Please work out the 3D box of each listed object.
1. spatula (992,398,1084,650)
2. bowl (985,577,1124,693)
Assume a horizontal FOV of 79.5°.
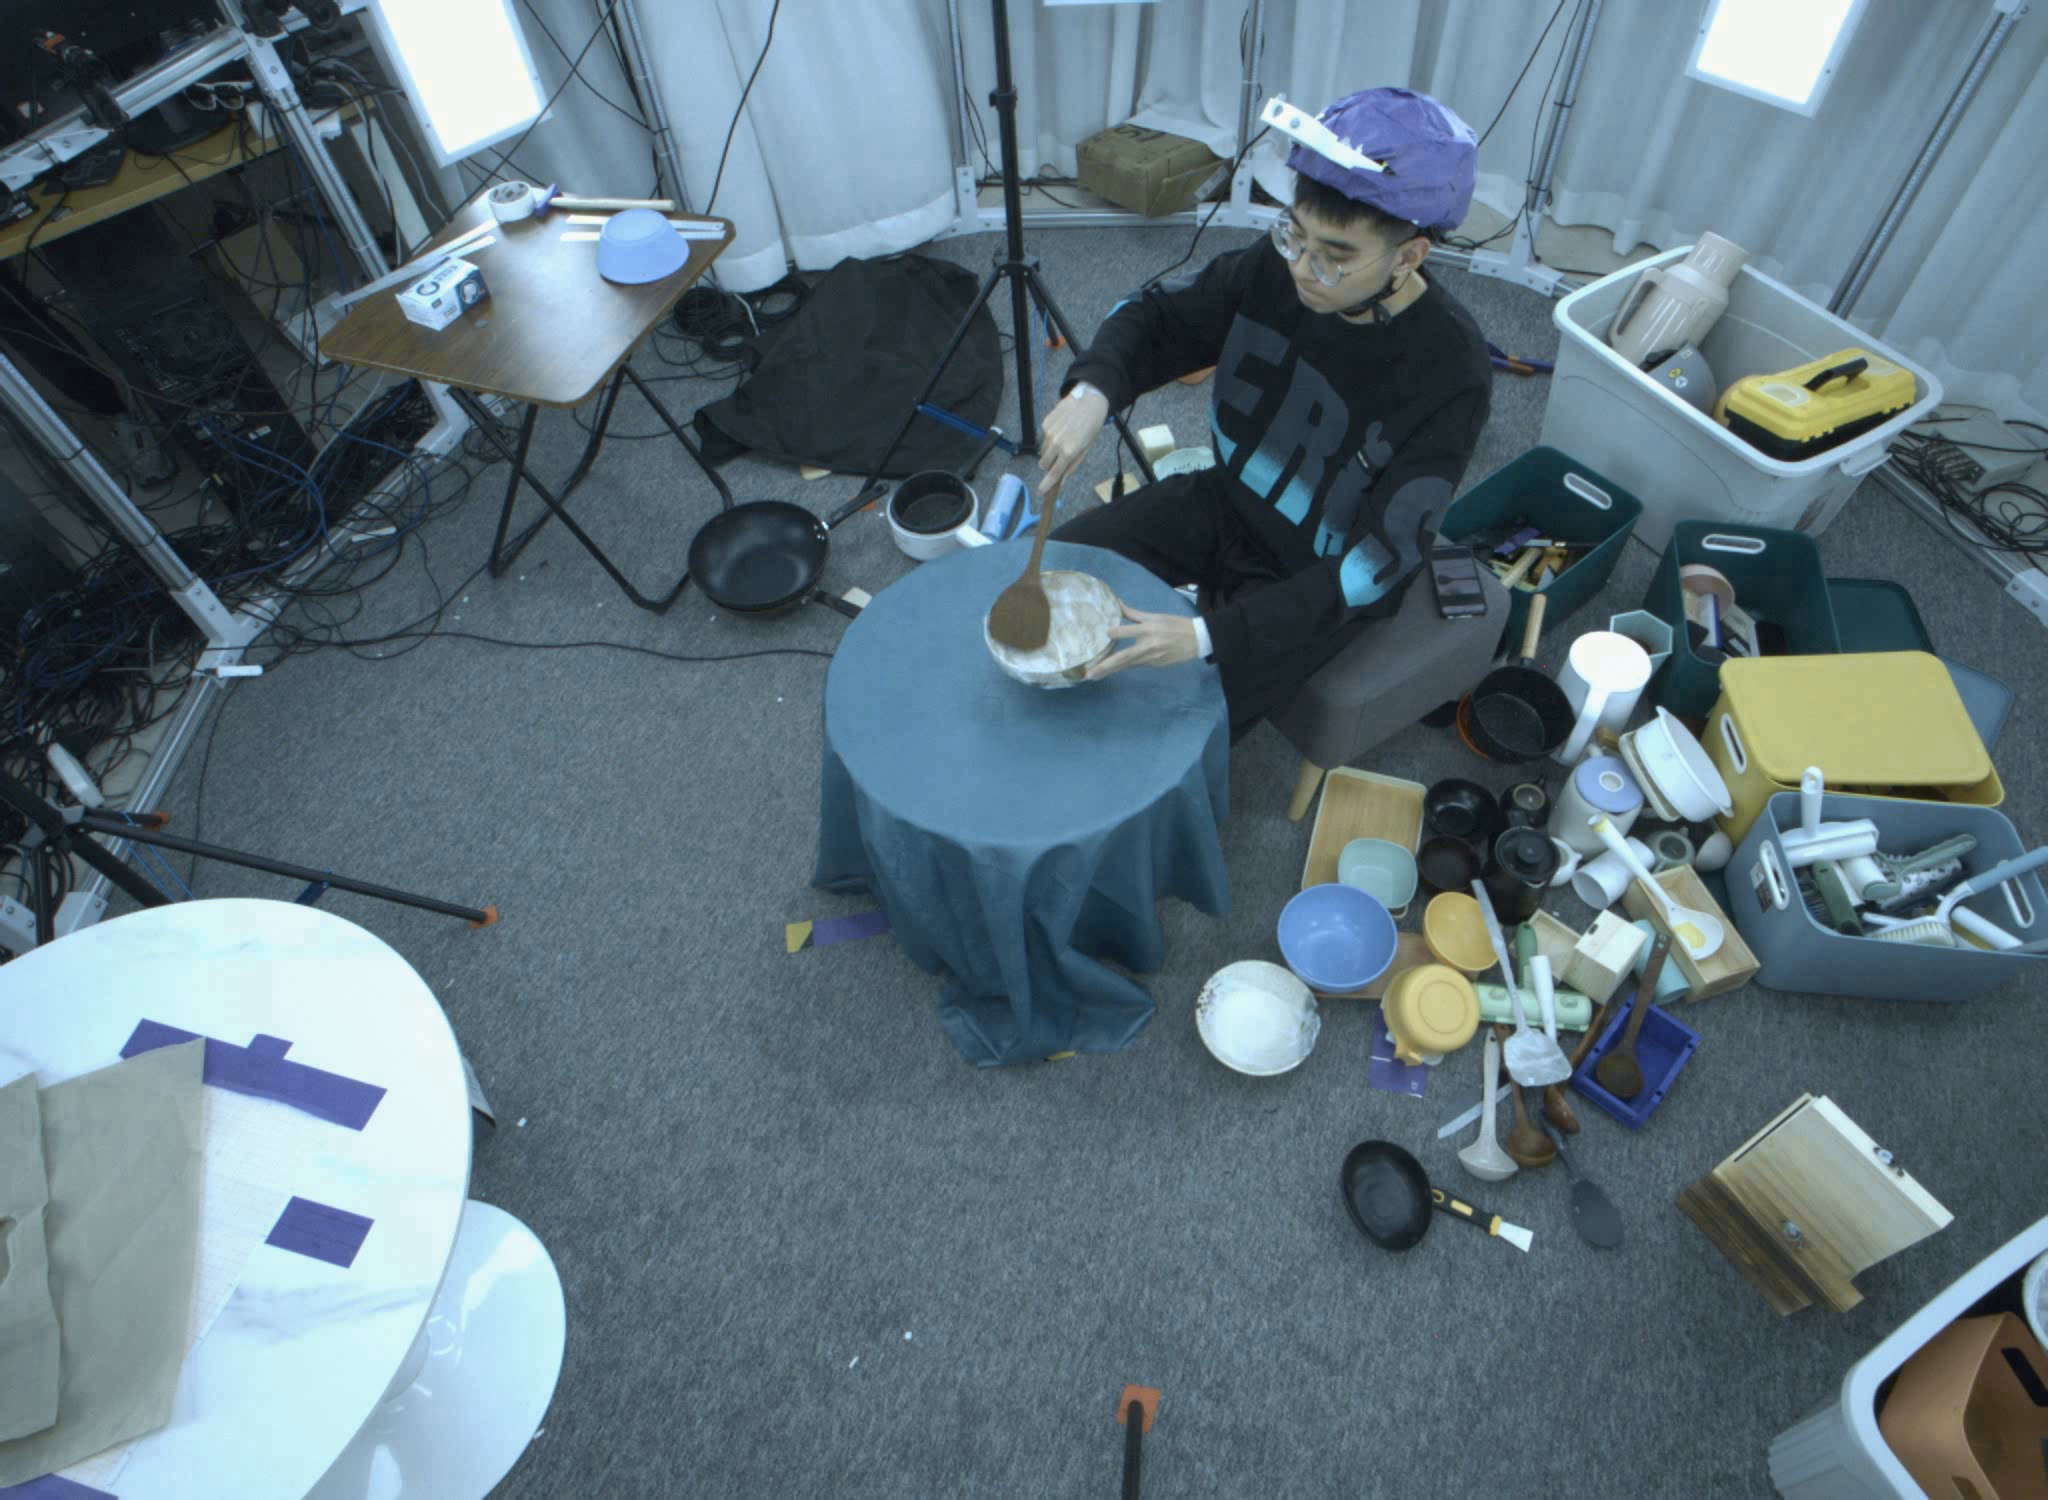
[{"bbox_3d":[0.033,-0.338,1.817,0.098,0.386,0.015,9,9,-25],"label":"spatula"},{"bbox_3d":[0.053,-0.157,1.820,0.214,0.096,0.212,-4,52,6],"label":"bowl"}]
